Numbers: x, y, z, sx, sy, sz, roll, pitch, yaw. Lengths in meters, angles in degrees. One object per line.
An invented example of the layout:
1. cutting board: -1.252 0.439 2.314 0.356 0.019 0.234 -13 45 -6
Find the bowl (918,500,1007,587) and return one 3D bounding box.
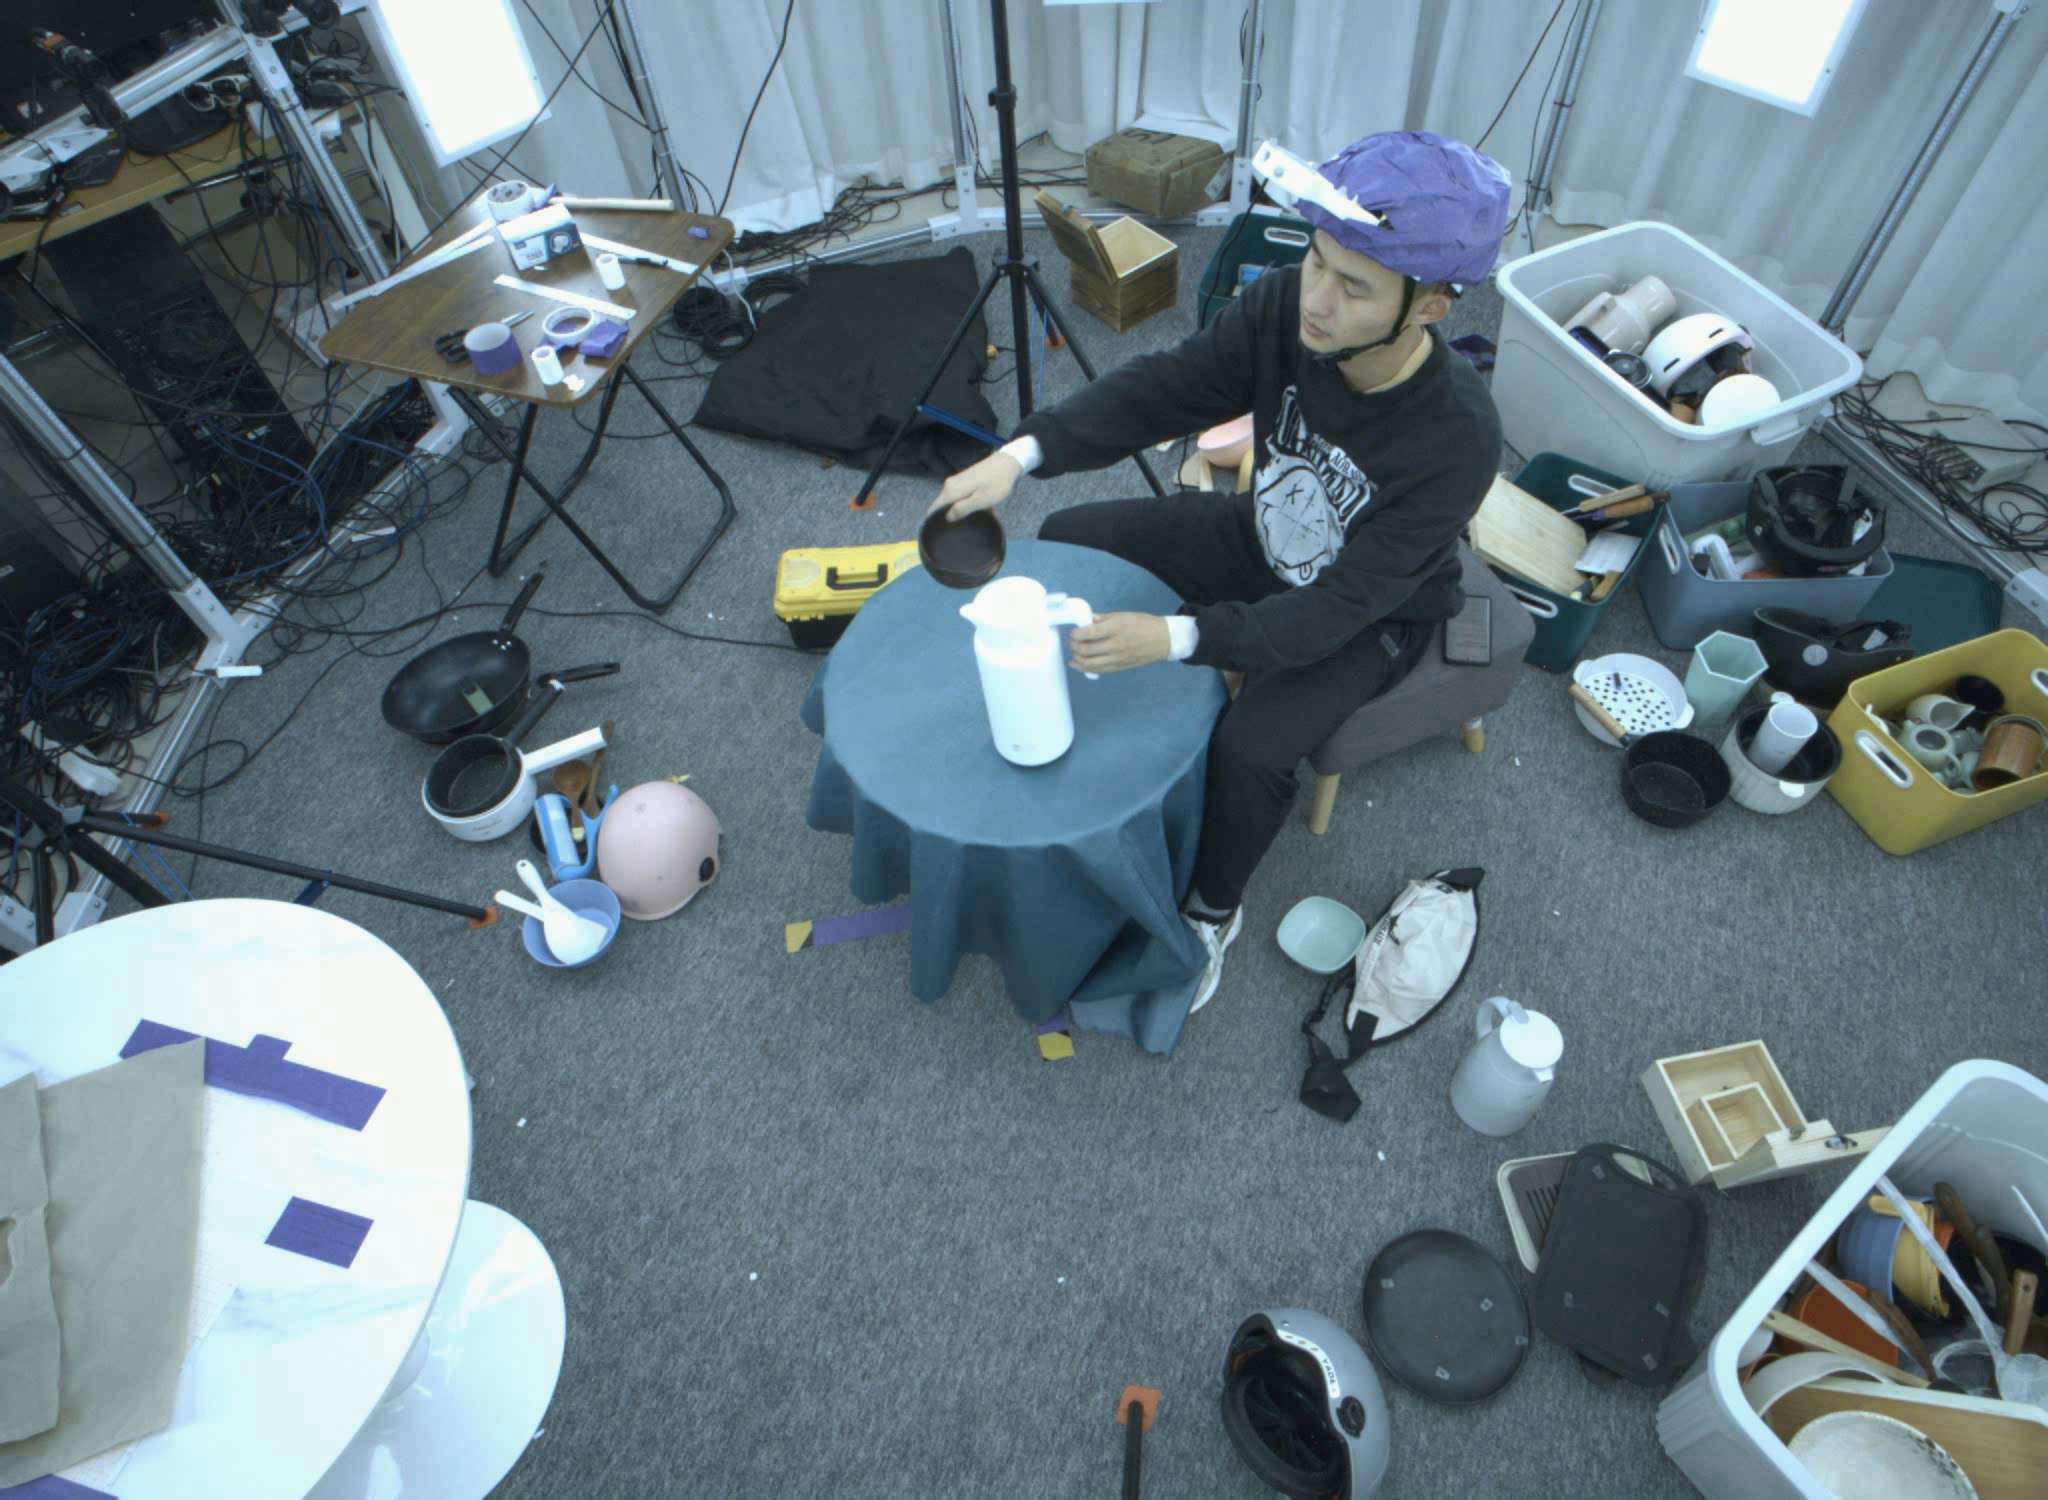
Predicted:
1. bowl: -0.083 -0.267 1.629 0.118 0.070 0.117 2 66 -4

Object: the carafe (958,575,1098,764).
1. carafe: 0.015 -0.109 1.689 0.172 0.272 0.122 -6 46 4
